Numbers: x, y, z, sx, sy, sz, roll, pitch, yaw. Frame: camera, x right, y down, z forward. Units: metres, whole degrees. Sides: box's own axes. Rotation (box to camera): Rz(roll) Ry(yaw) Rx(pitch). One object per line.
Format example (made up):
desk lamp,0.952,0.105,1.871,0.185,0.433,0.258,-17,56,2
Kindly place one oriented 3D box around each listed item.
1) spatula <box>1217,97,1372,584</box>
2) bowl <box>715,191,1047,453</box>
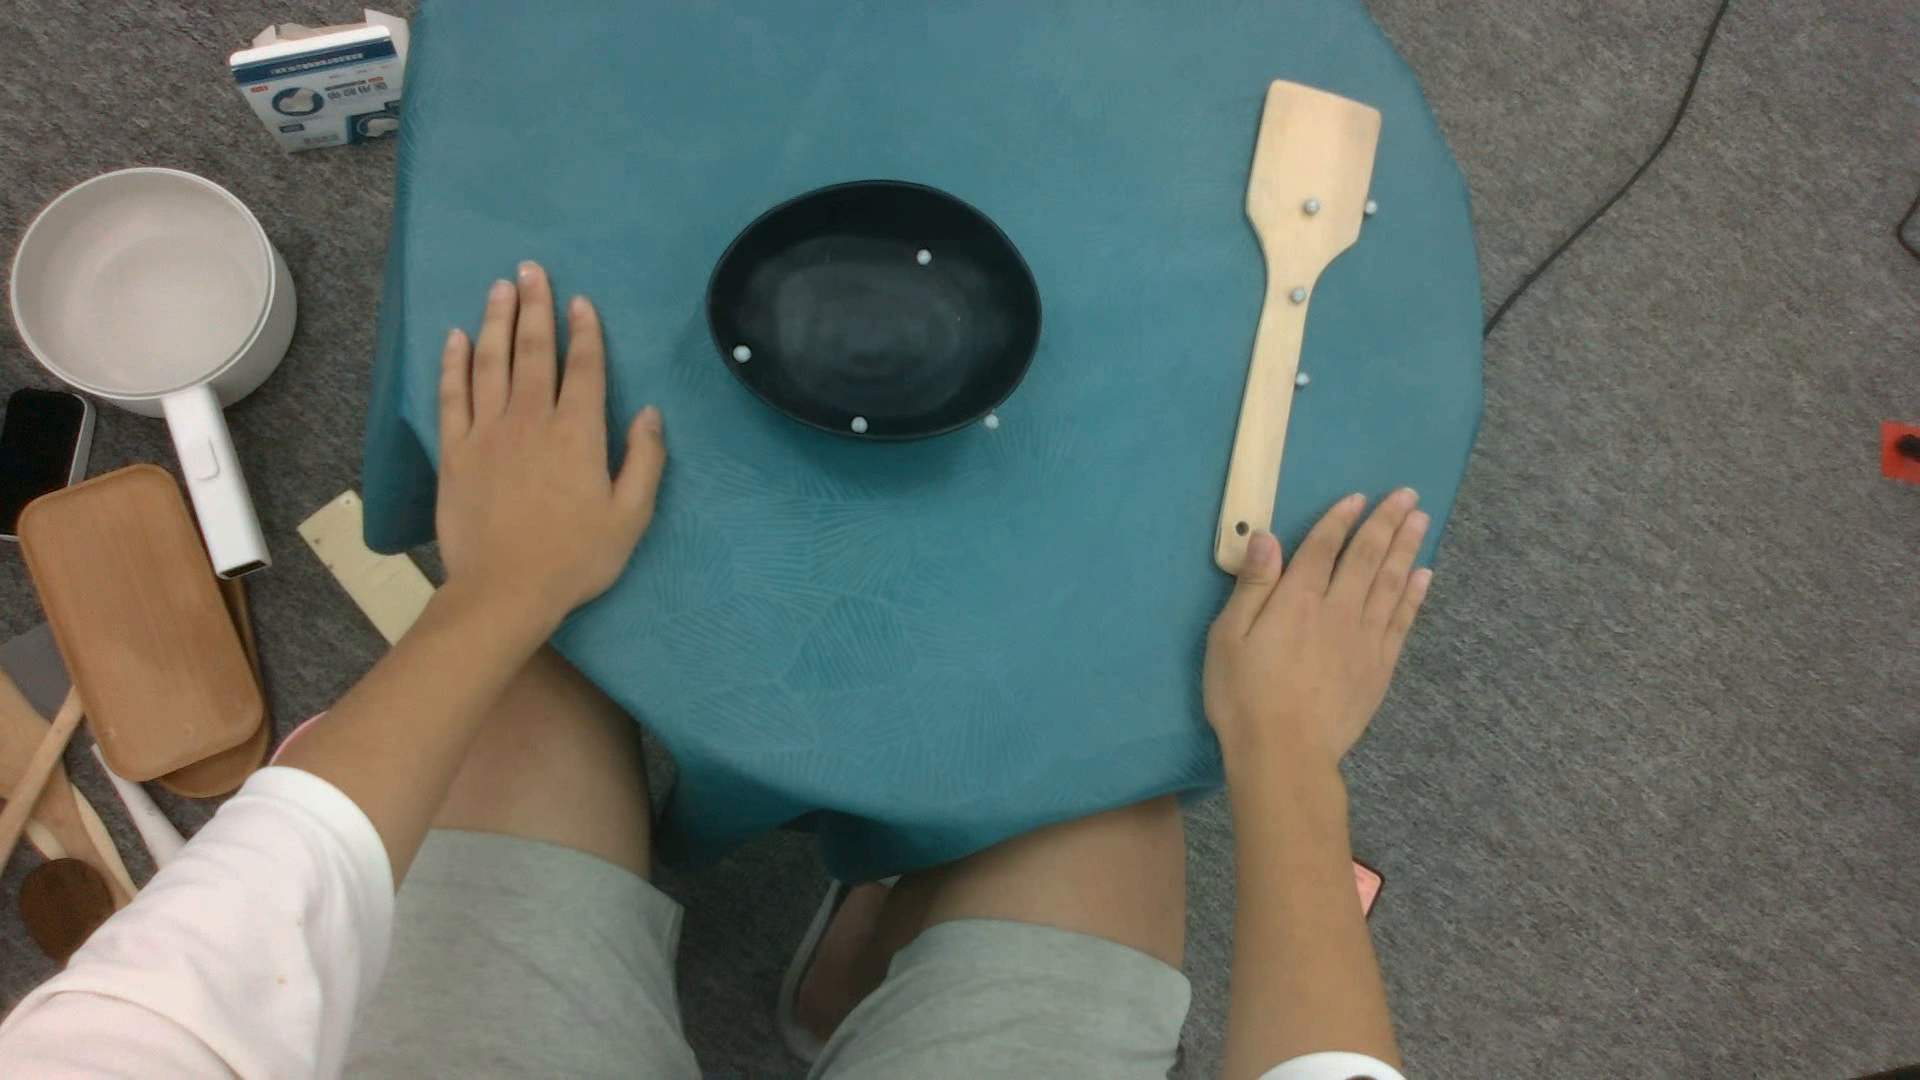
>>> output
spatula,0.184,-0.116,0.790,0.072,0.010,0.293,14,77,-7
bowl,-0.042,-0.107,0.727,0.170,0.066,0.137,-1,80,-7
